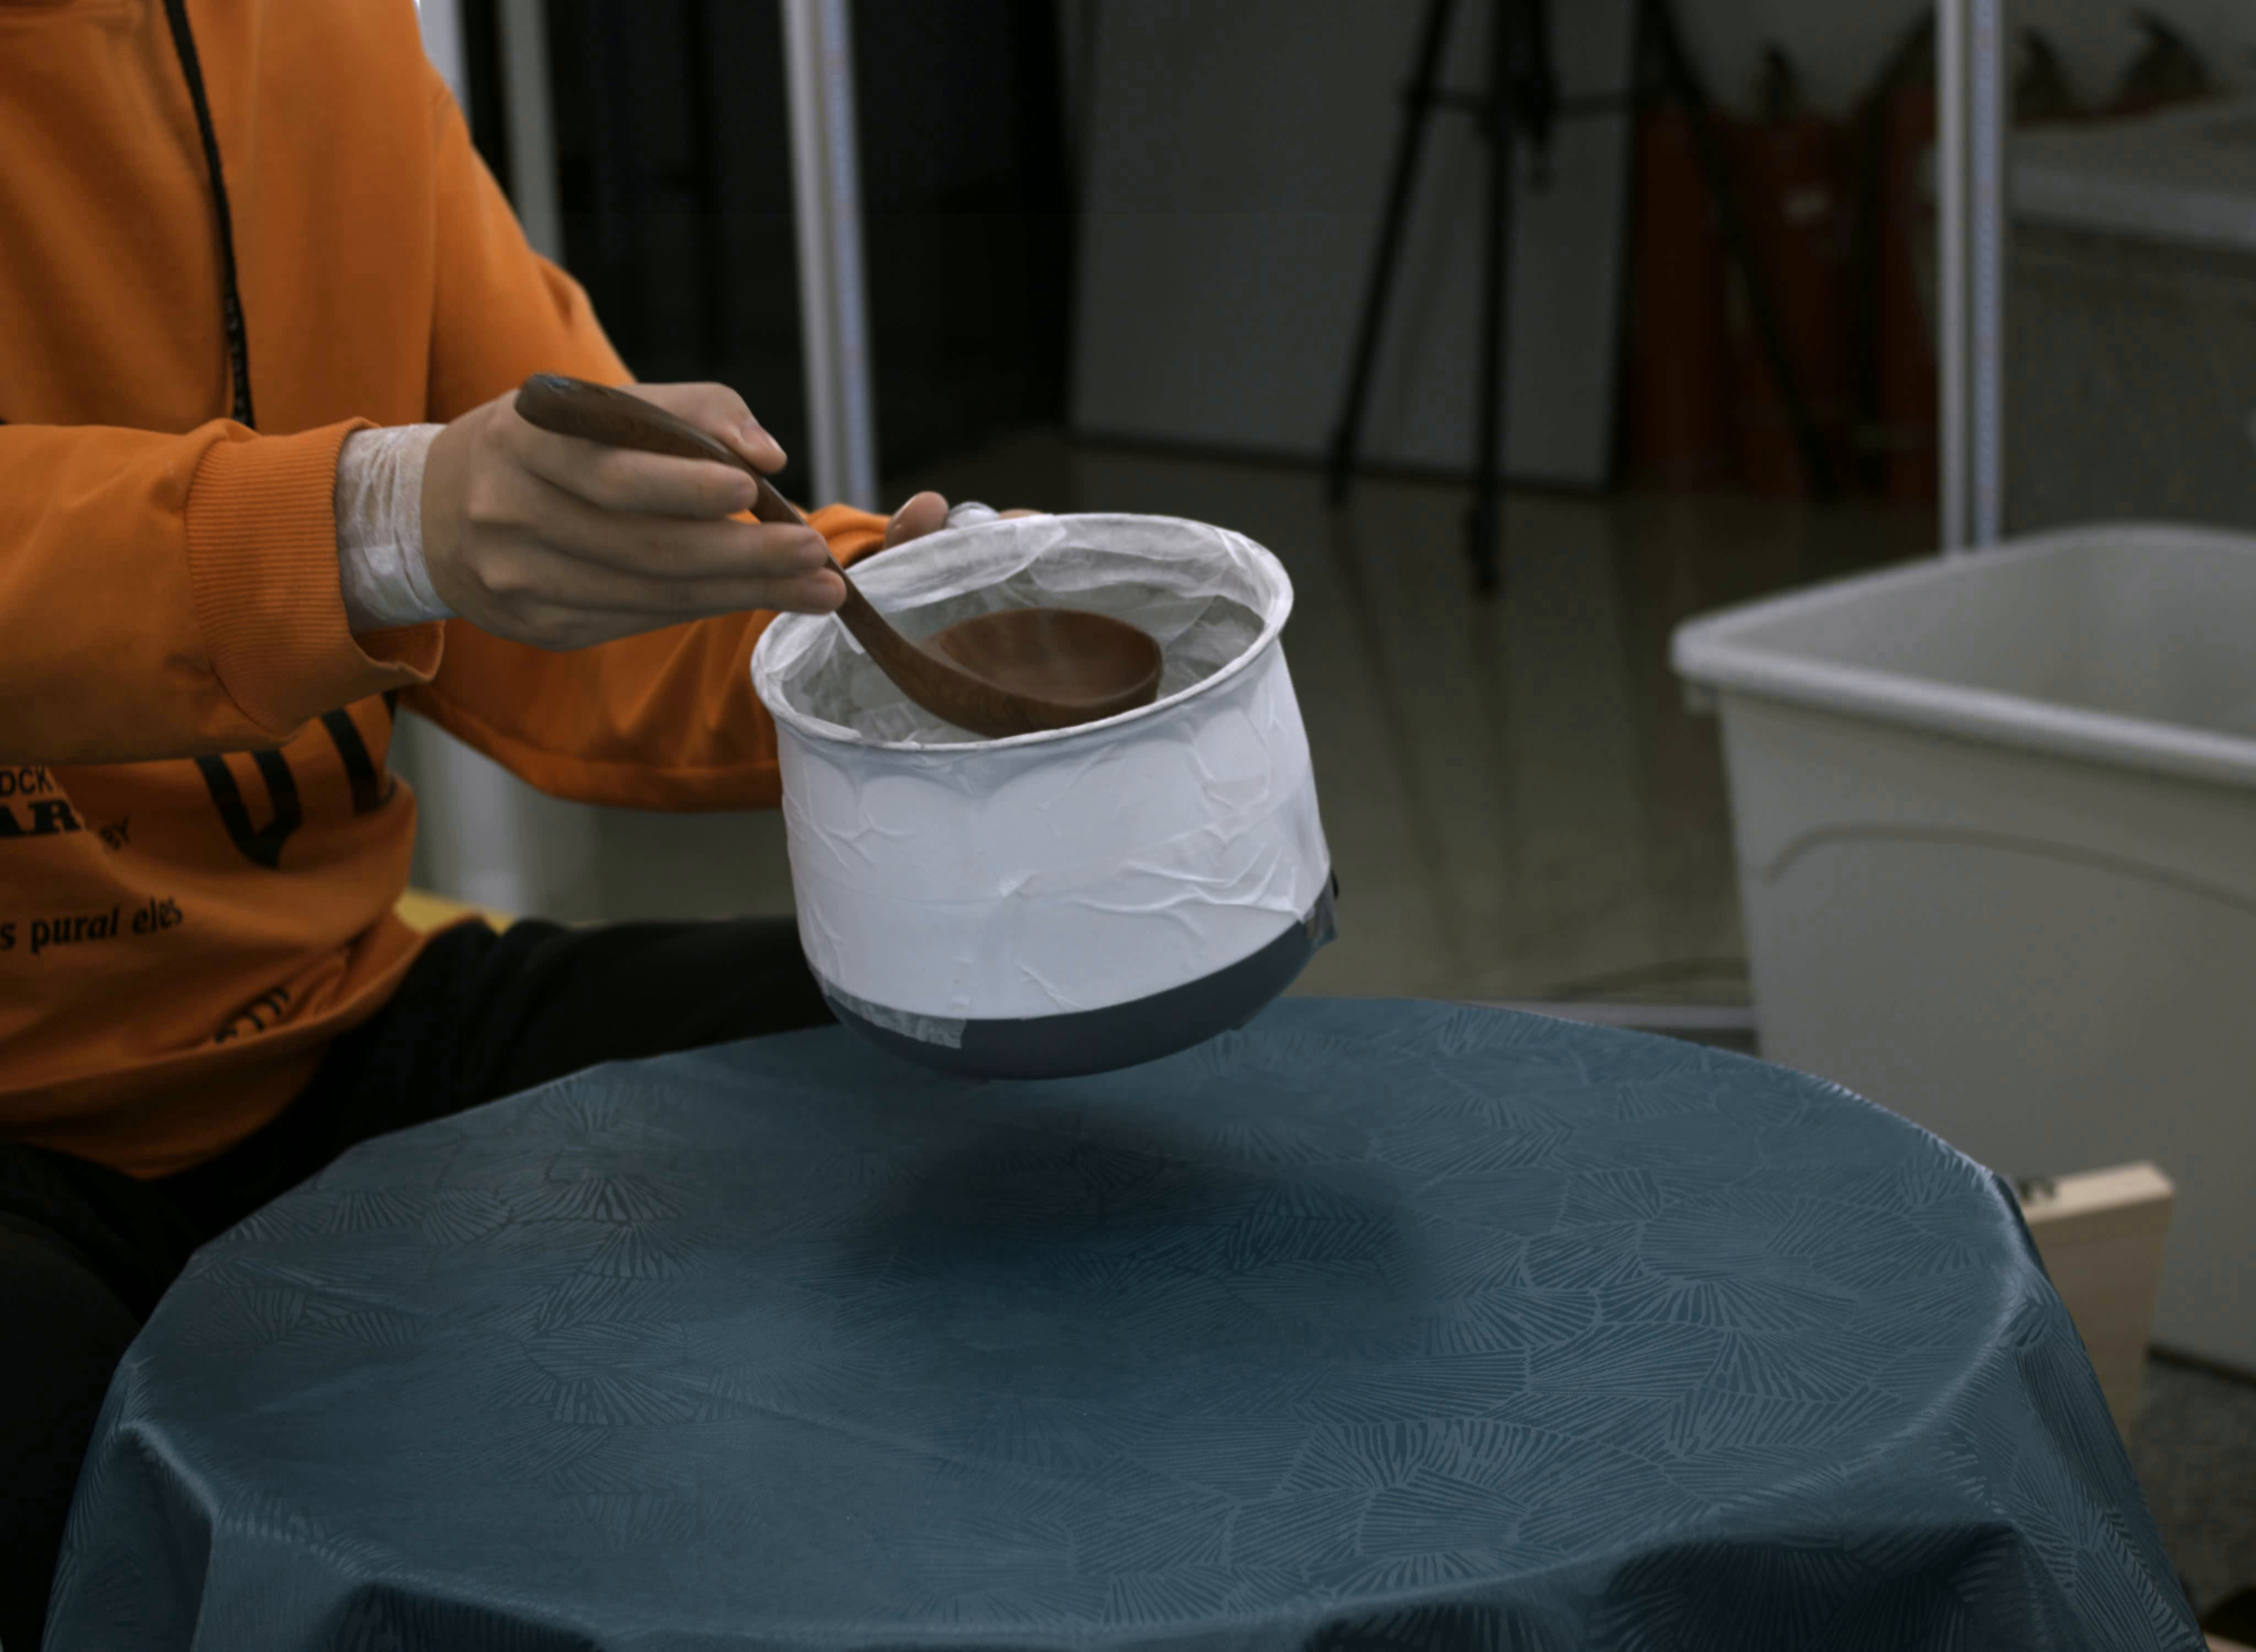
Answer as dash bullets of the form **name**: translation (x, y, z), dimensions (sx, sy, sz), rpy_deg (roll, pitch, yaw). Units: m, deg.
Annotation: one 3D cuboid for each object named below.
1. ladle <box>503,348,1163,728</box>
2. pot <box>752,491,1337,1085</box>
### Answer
- **ladle**: translation (-0.086, -0.096, 1.659), dimensions (0.256, 0.065, 0.077), rpy_deg (37, -6, -39)
- **pot**: translation (-0.031, -0.021, 1.771), dimensions (0.176, 0.137, 0.235), rpy_deg (-13, 26, -8)
